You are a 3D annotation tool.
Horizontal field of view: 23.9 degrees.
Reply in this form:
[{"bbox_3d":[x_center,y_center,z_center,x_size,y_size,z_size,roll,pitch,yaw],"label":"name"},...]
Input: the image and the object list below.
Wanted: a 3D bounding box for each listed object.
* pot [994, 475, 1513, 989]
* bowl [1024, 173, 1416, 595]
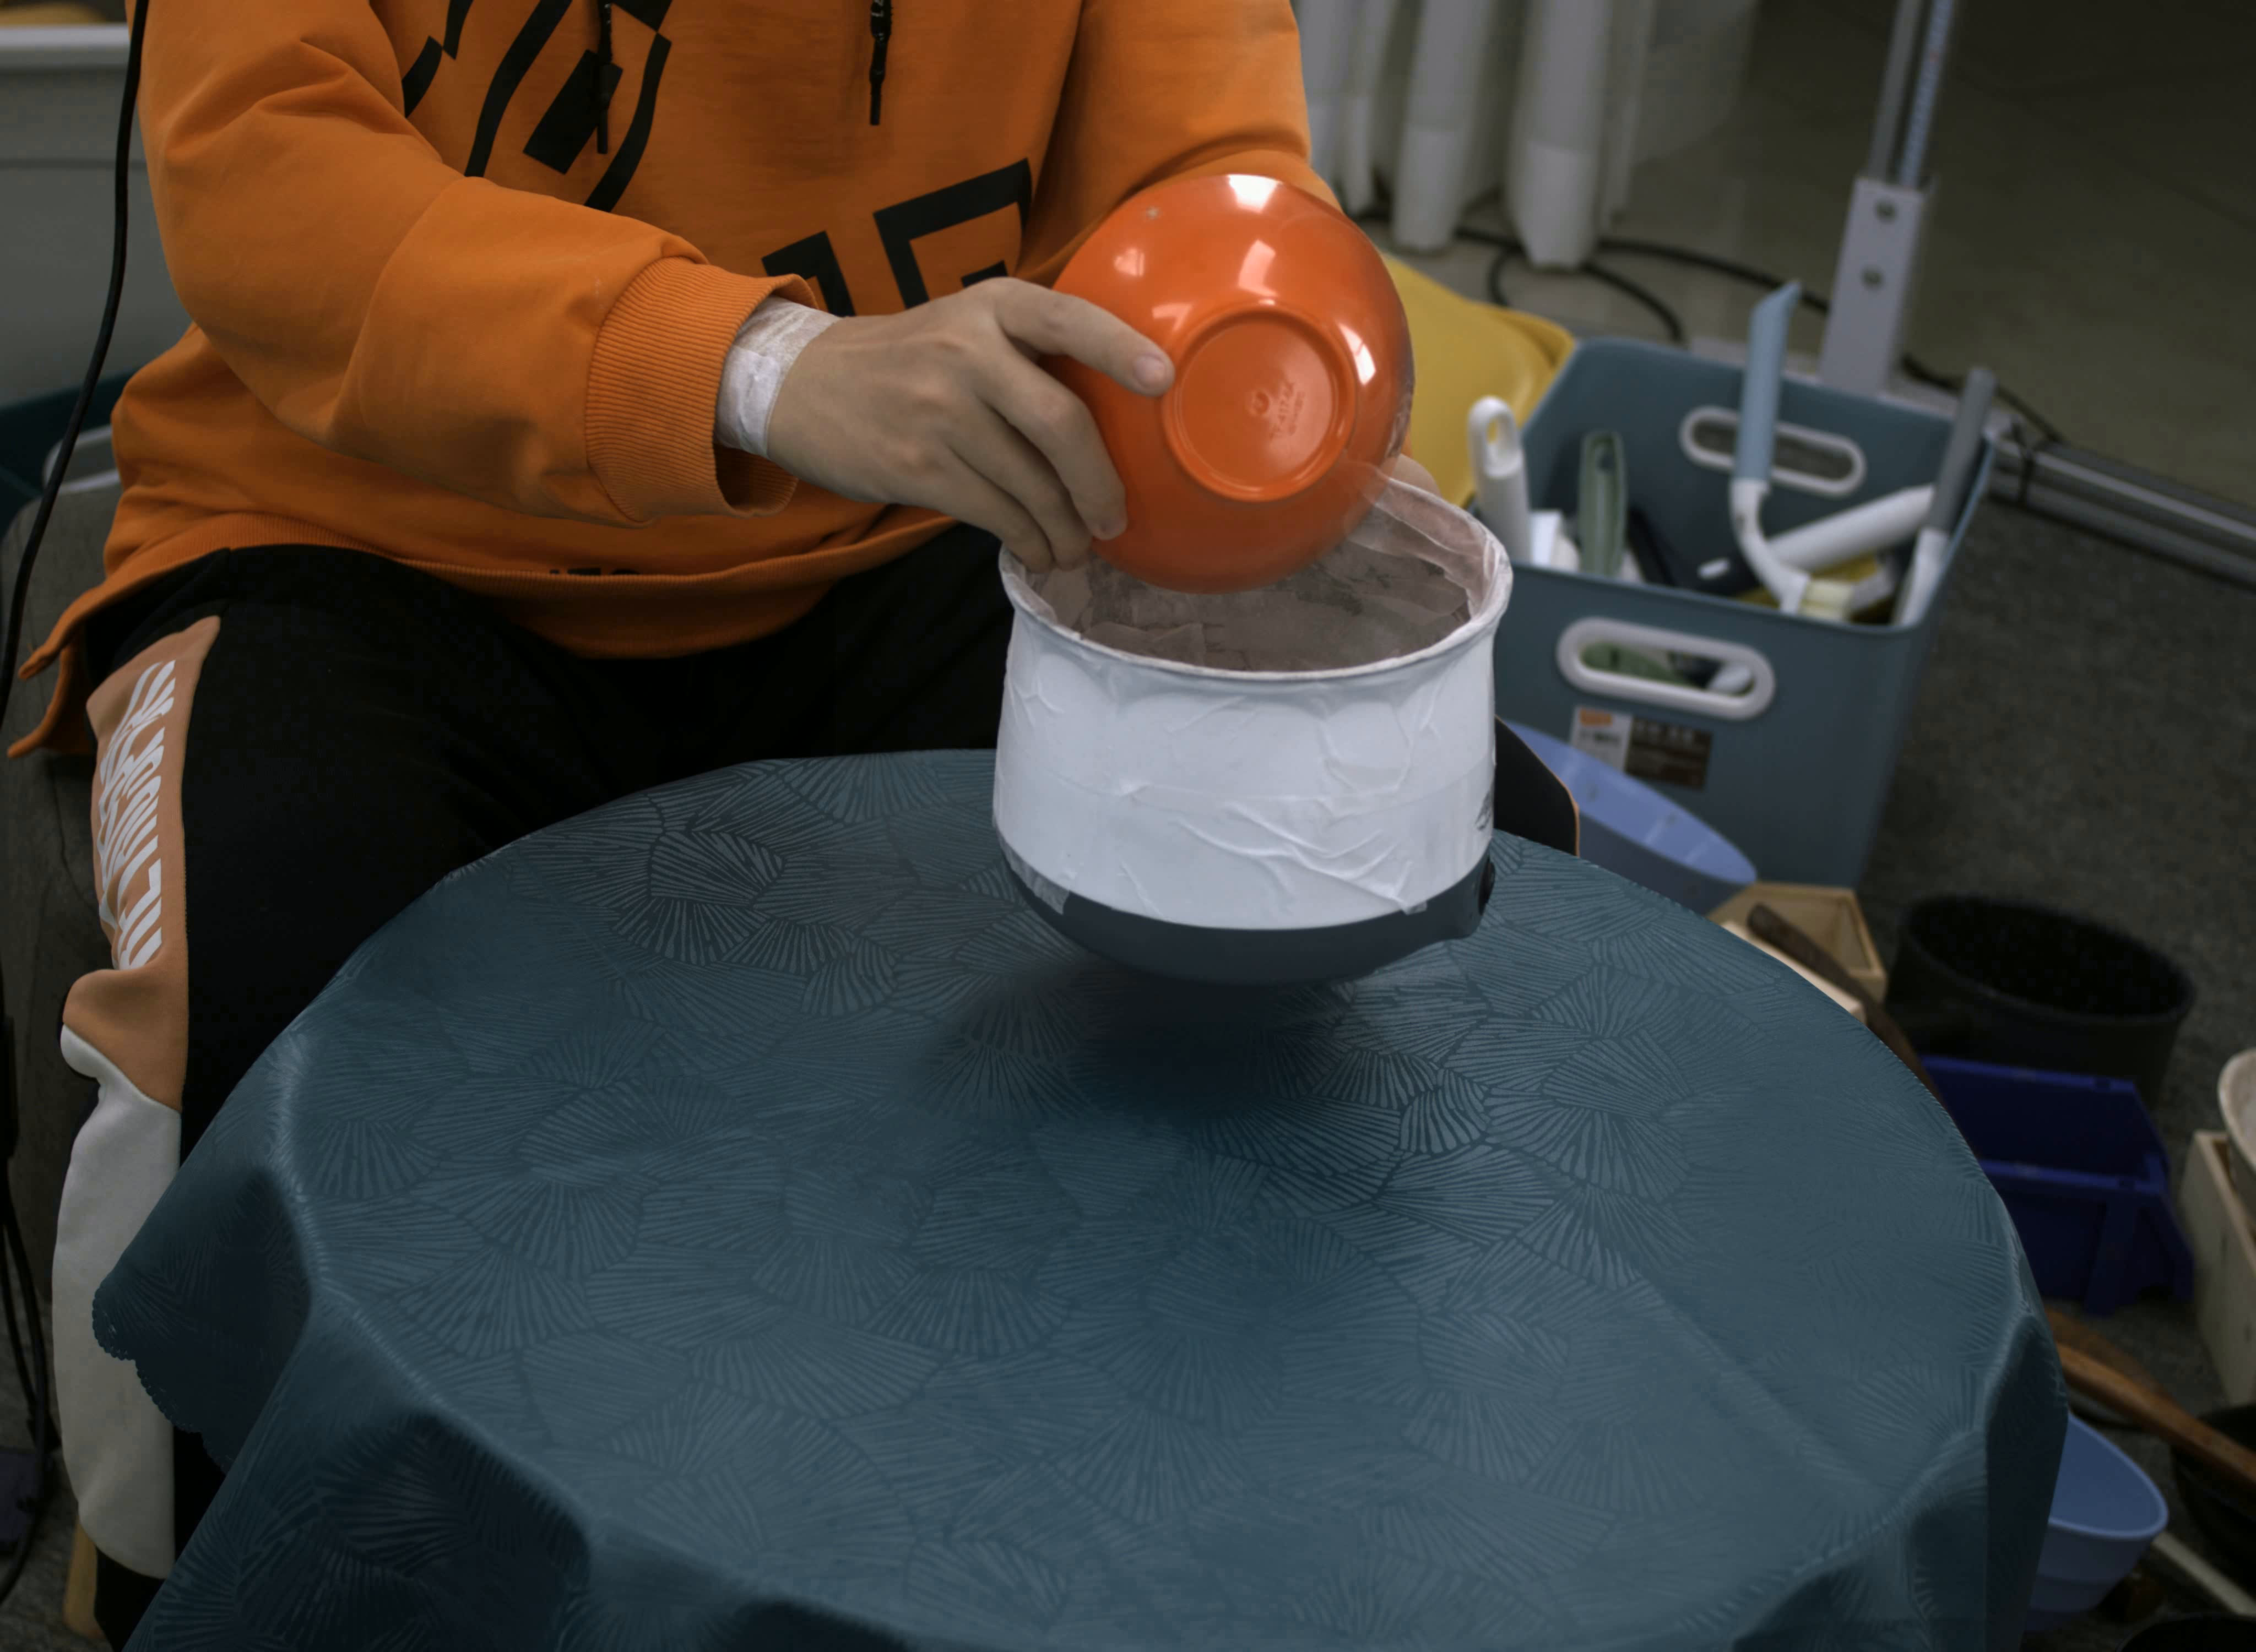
[{"bbox_3d":[0.047,-0.048,1.882,0.178,0.136,0.234,7,28,9],"label":"pot"},{"bbox_3d":[0.043,-0.147,1.816,0.147,0.148,0.105,0,9,-14],"label":"bowl"}]
